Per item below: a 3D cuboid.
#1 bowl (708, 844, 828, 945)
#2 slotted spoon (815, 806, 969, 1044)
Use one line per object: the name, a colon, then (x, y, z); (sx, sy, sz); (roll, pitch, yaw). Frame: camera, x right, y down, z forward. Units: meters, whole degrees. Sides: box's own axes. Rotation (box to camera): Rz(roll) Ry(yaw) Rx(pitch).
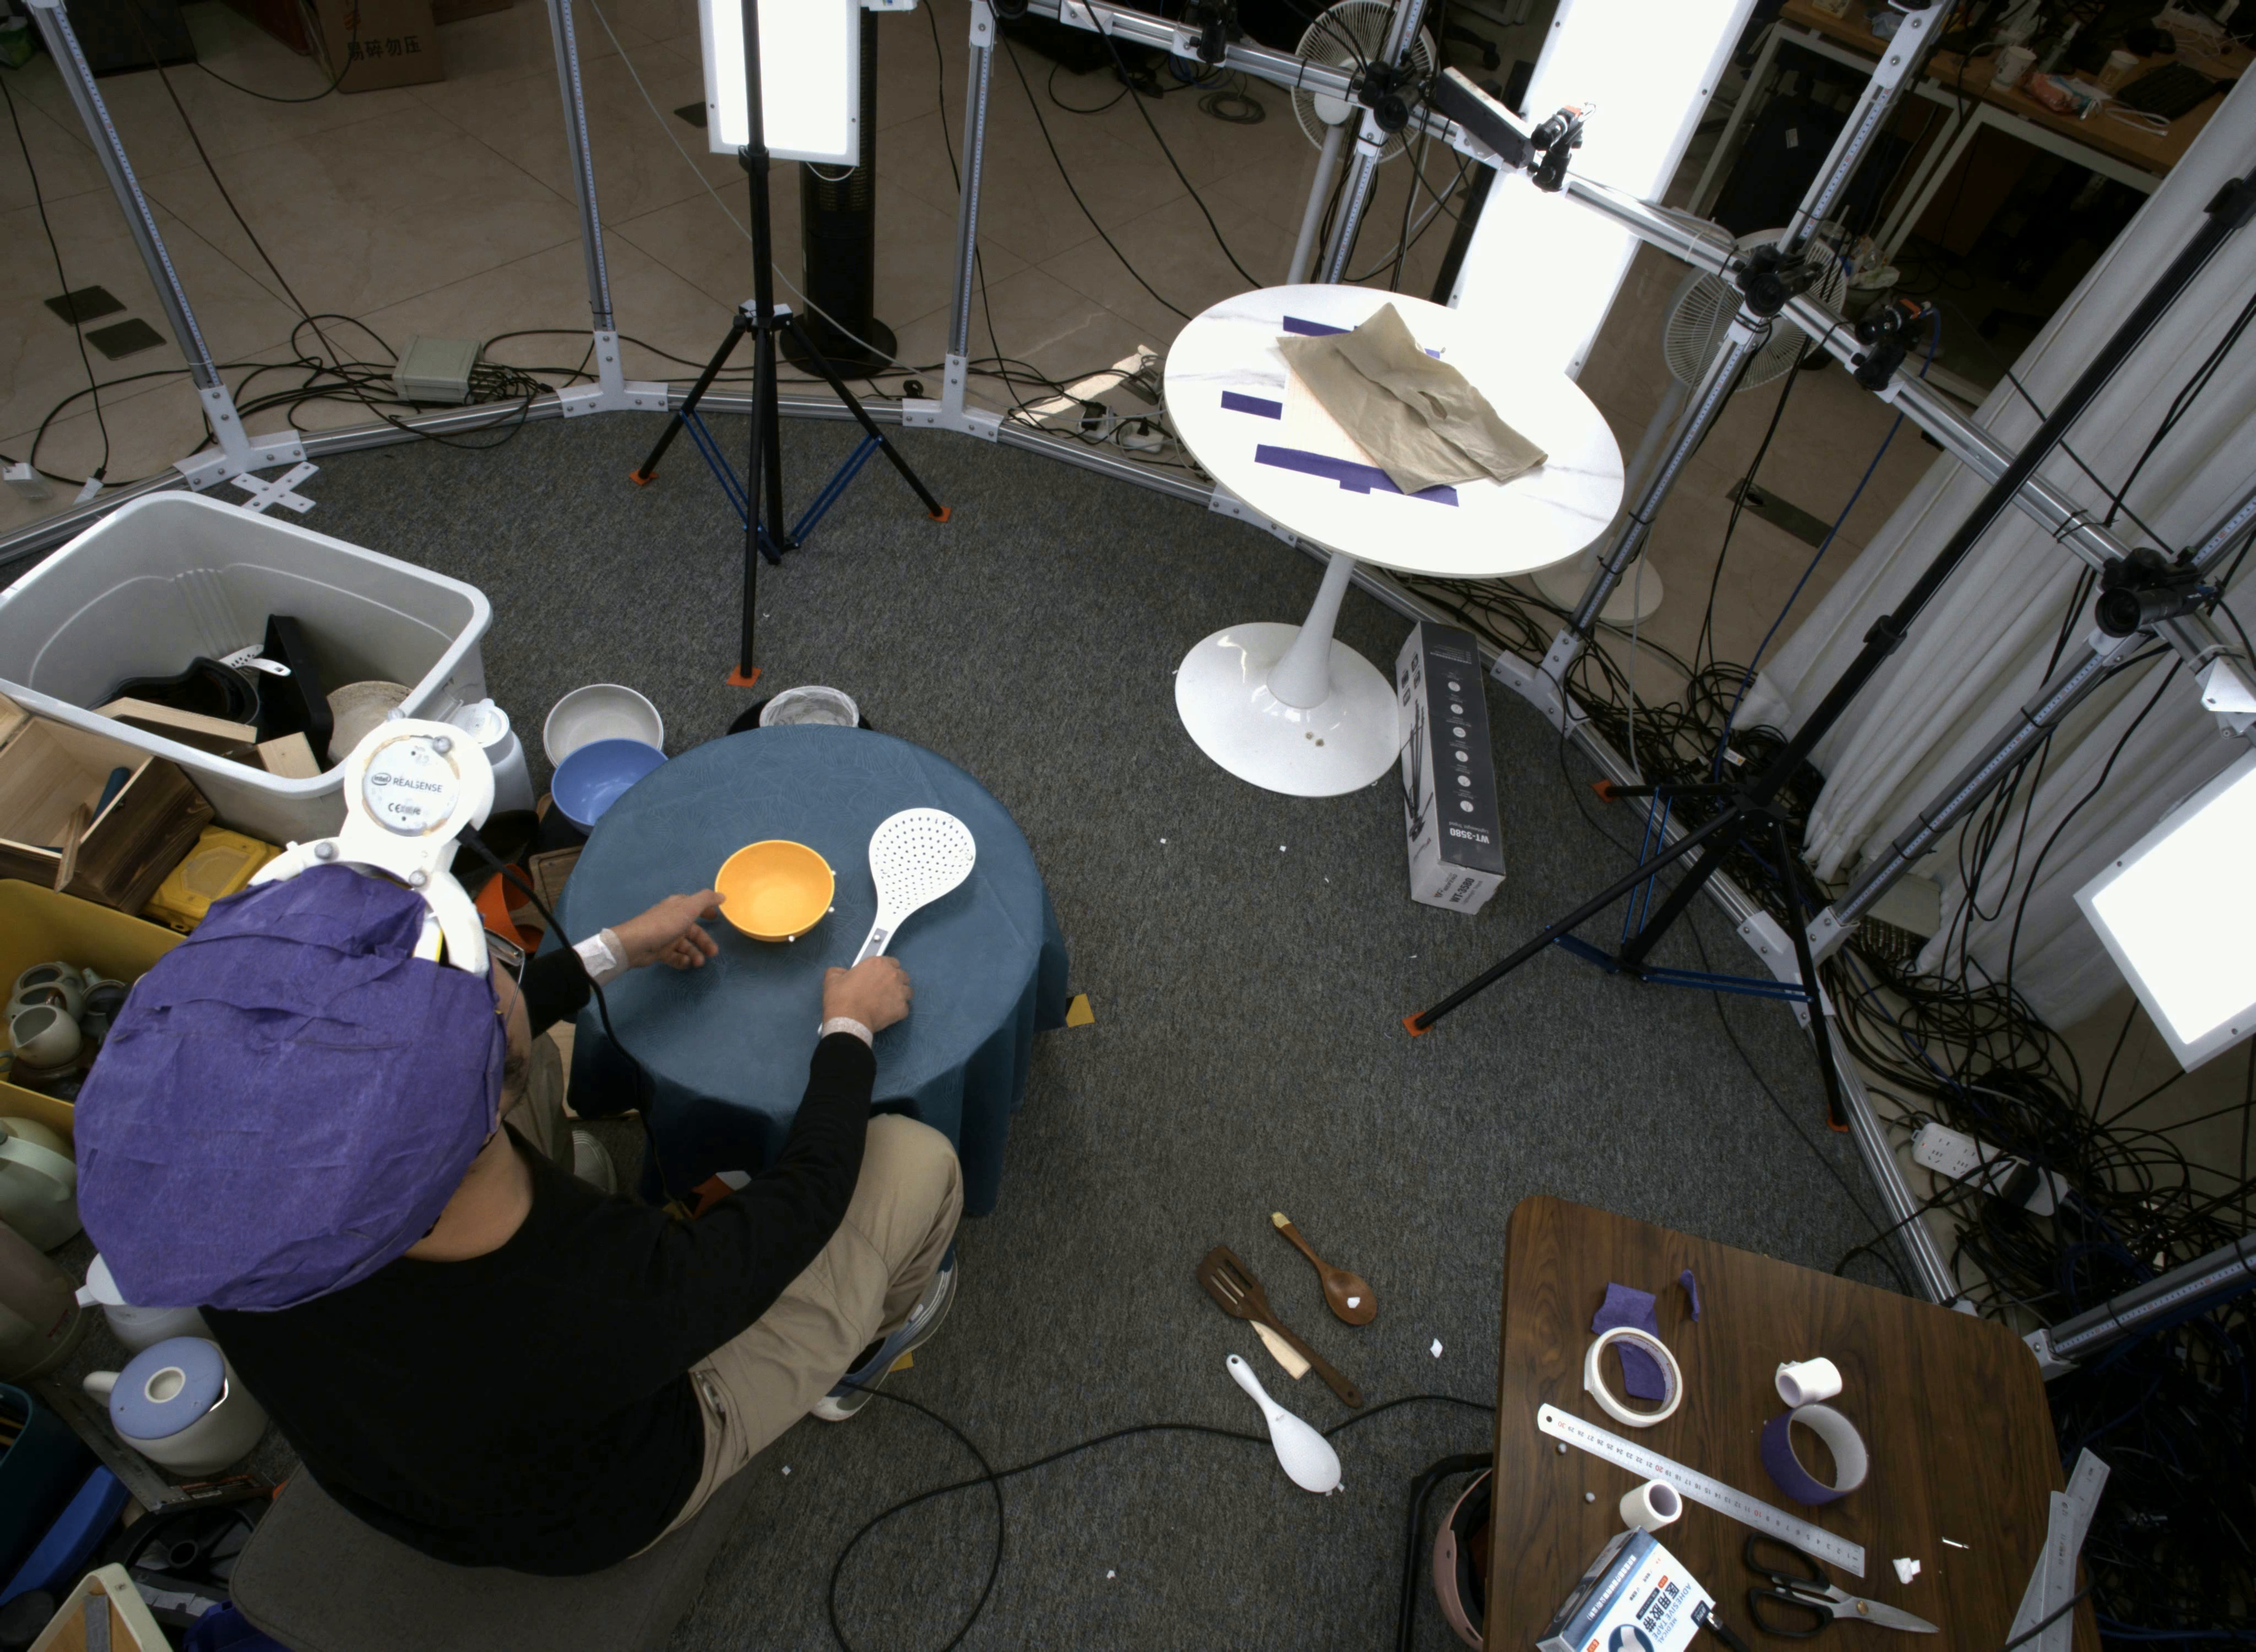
bowl: (-0.445, 0.094, 1.607); (0.145, 0.061, 0.142); (7, 50, -7)
slotted spoon: (-0.307, 0.117, 1.631); (0.134, 0.047, 0.346); (20, 52, 2)
